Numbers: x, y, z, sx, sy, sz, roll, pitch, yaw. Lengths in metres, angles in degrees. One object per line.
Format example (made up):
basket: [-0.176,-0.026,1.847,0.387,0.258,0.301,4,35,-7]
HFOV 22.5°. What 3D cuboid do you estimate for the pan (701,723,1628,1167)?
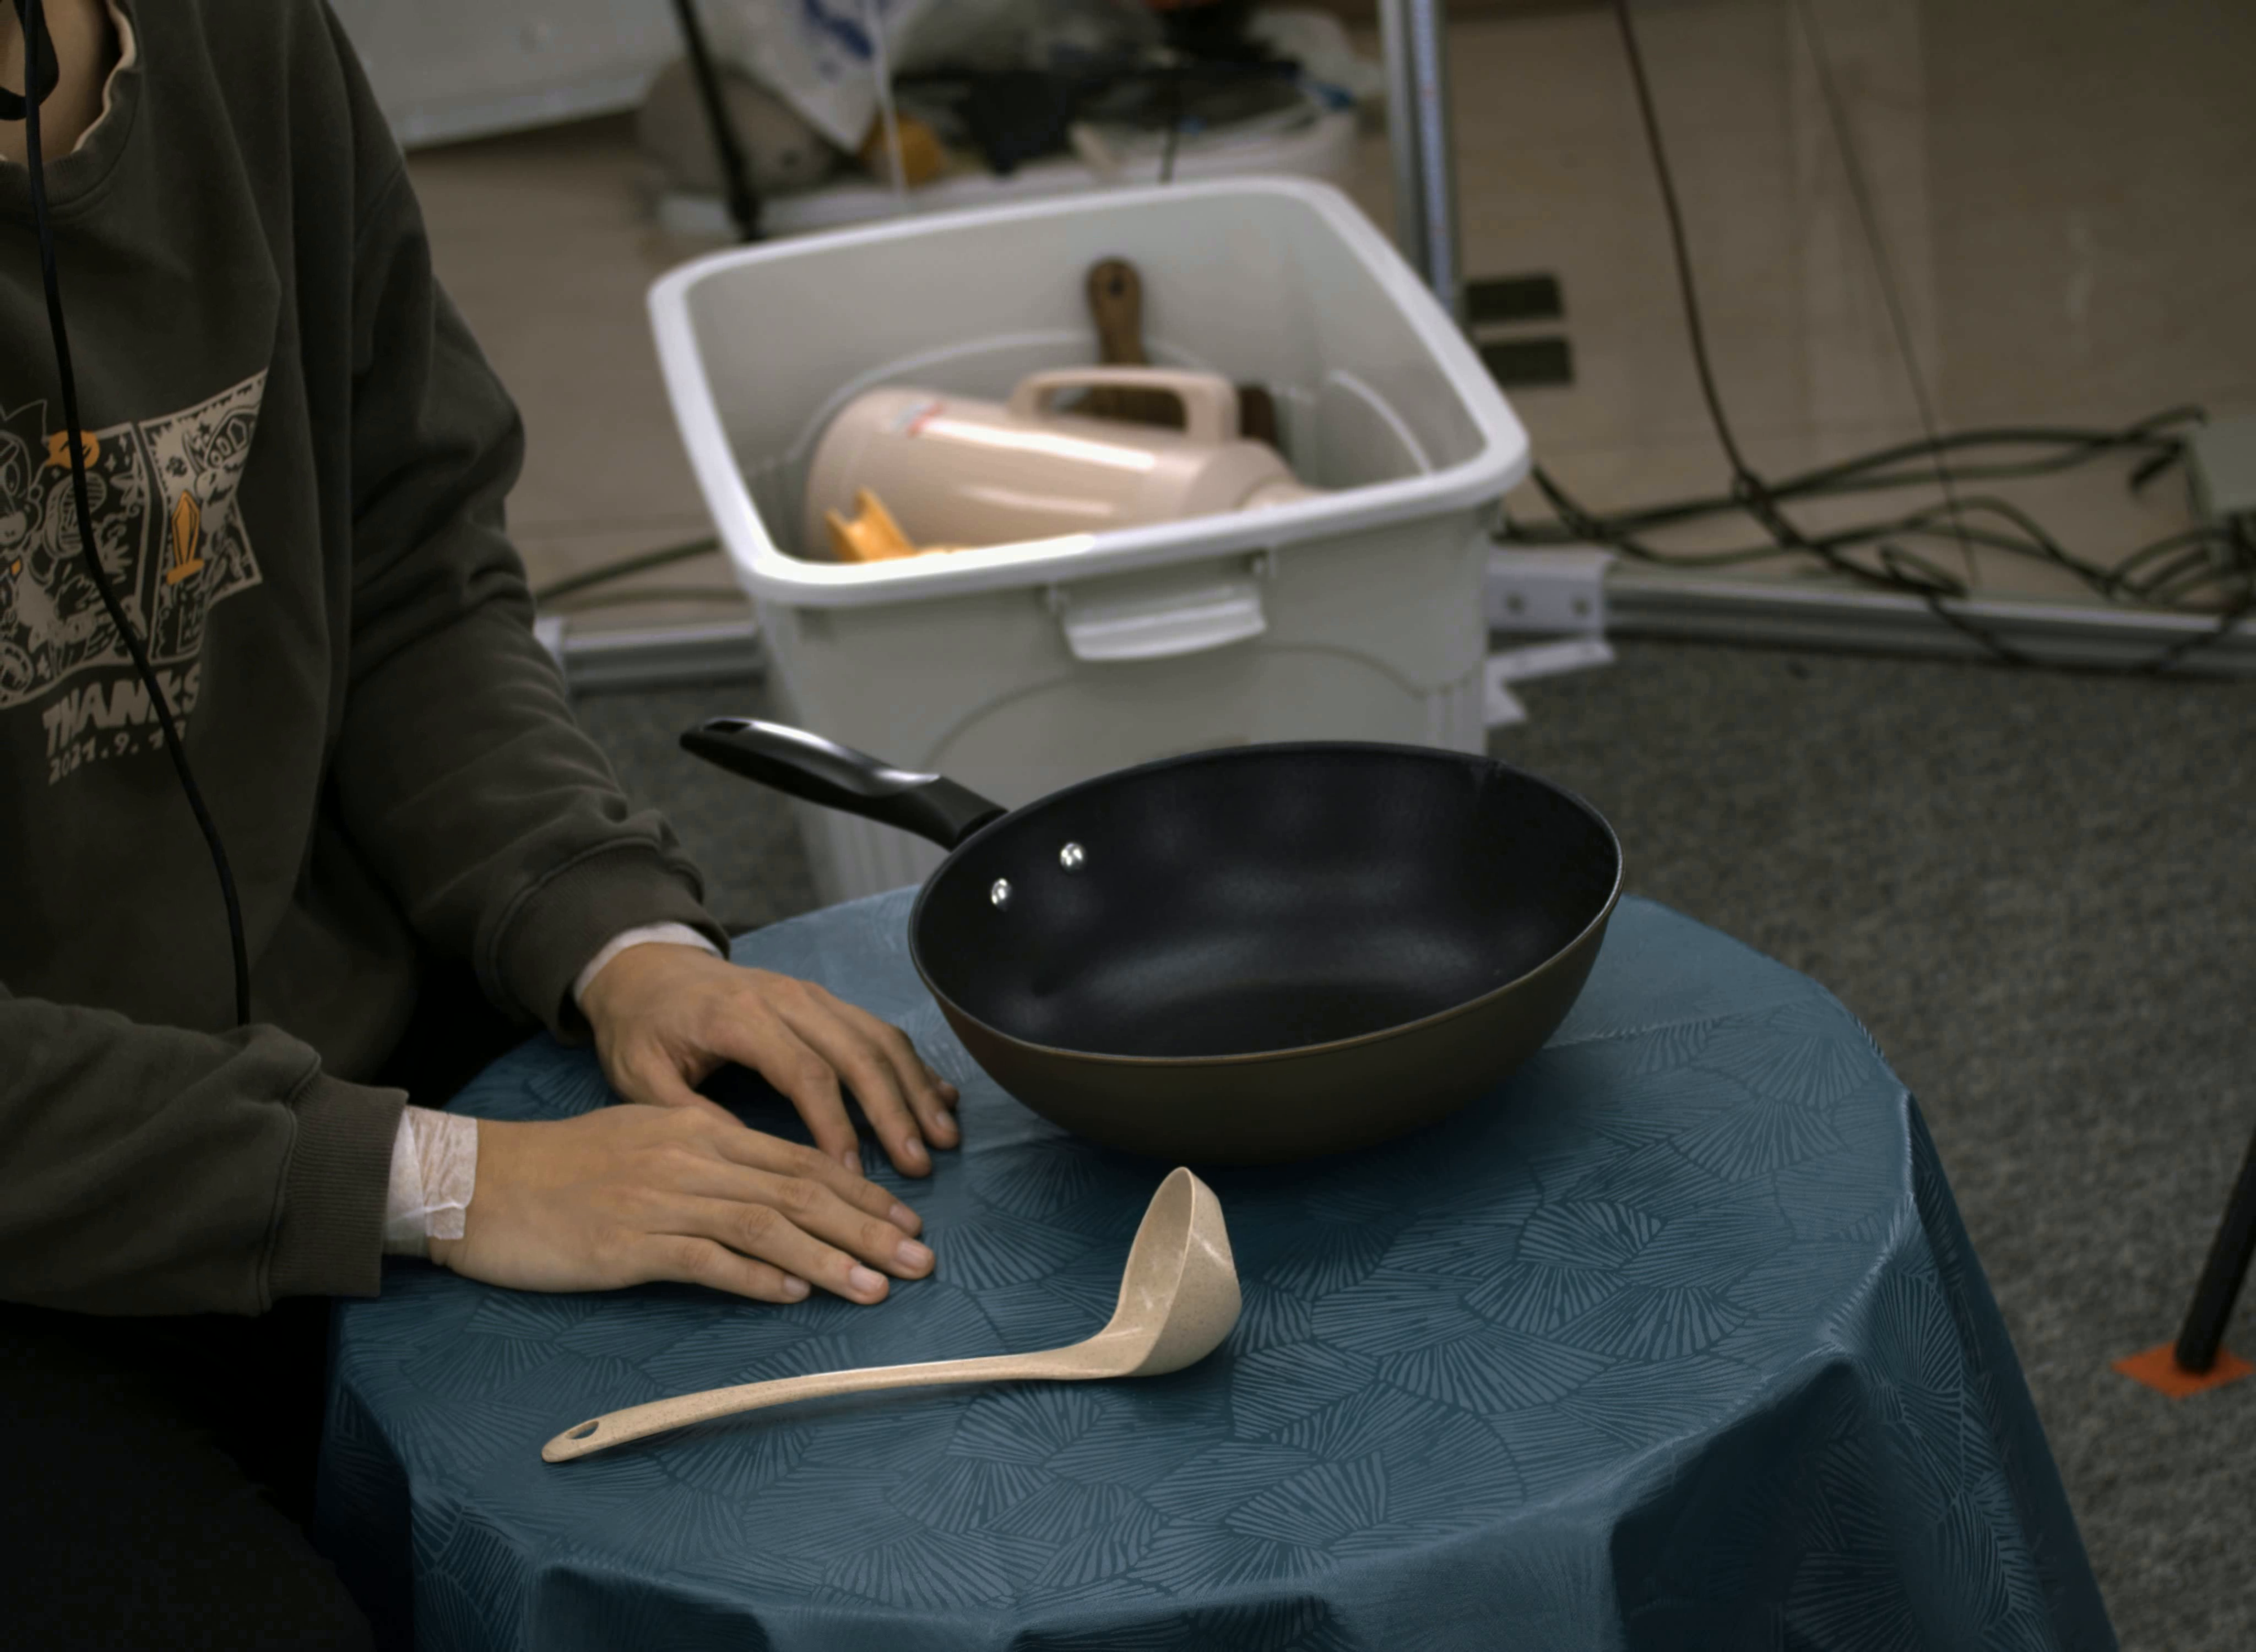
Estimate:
pan: [-0.009,0.041,2.260,0.460,0.088,0.285,16,33,41]

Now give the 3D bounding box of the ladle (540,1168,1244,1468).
ladle: [-0.086,0.173,2.006,0.254,0.074,0.071,-8,28,-6]
